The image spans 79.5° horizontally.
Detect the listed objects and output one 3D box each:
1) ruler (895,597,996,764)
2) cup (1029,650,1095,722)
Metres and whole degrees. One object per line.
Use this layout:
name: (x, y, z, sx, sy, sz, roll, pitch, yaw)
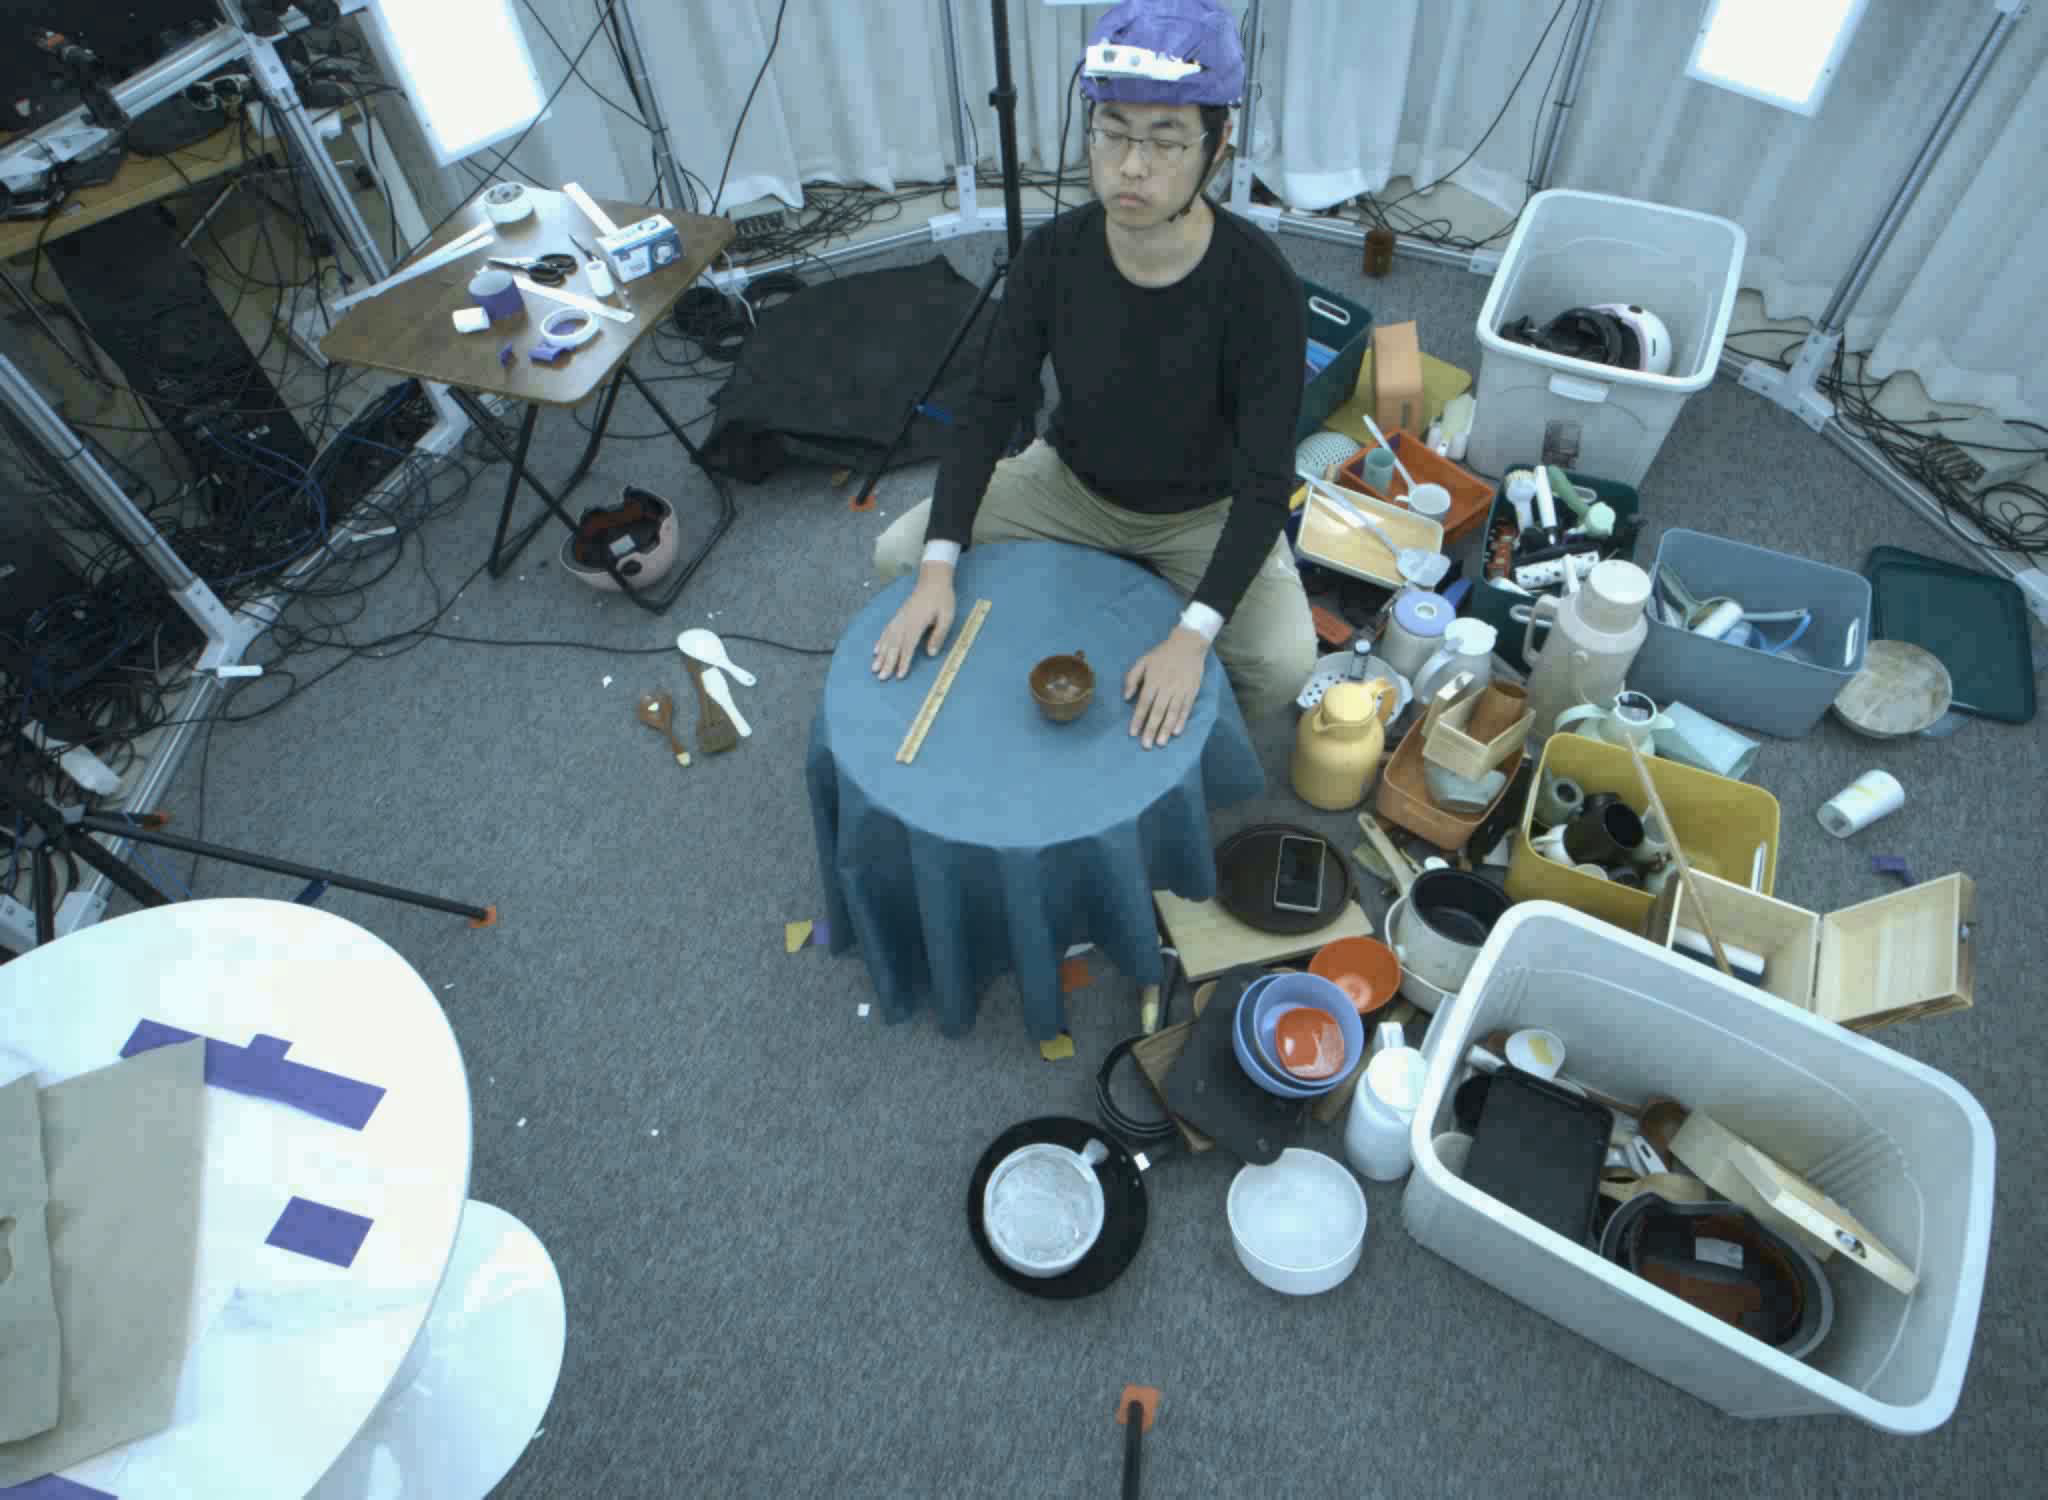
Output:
ruler: (-0.117, -0.114, 1.866, 0.027, 0.022, 0.331, 19, 58, 10)
cup: (0.062, -0.094, 1.812, 0.095, 0.068, 0.119, 18, 56, 17)
